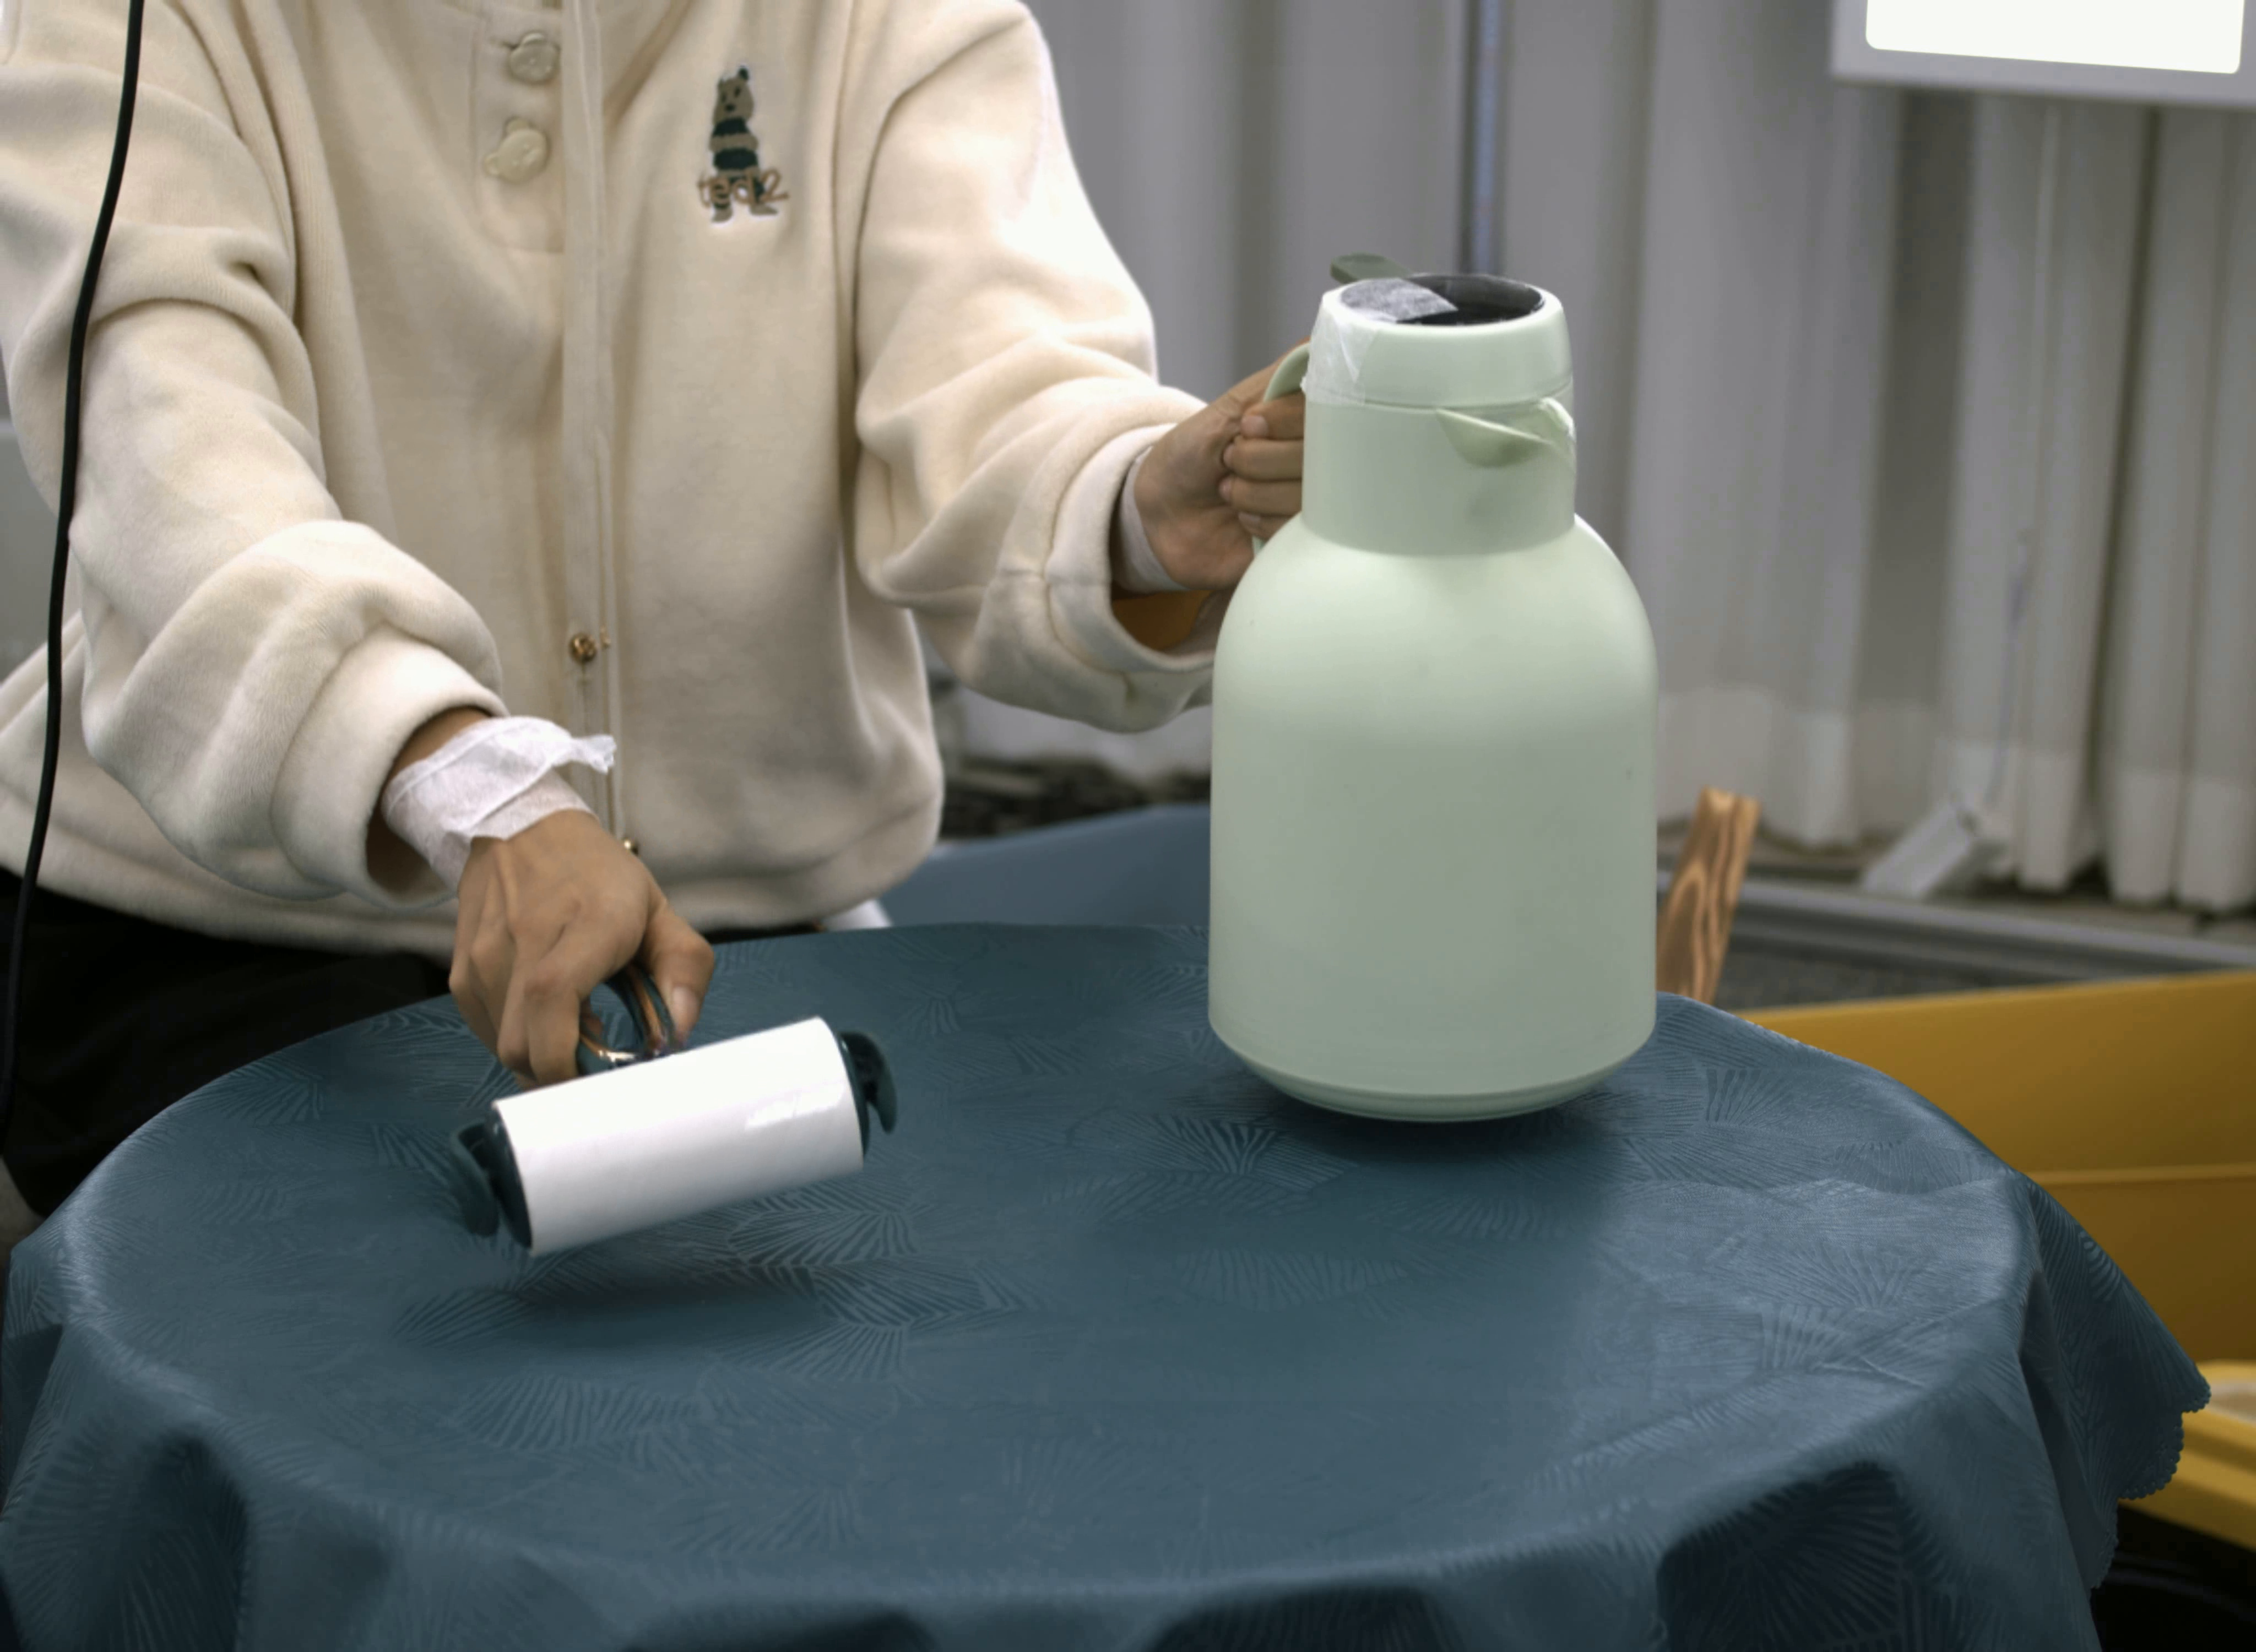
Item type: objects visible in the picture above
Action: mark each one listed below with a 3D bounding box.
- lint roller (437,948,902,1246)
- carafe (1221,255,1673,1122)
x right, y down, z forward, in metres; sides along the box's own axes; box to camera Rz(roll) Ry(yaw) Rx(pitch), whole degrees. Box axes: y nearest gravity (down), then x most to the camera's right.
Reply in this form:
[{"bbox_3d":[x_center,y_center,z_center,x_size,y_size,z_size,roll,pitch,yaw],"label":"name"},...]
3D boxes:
[{"bbox_3d":[-0.152,0.059,1.578,0.134,0.049,0.178,-13,29,-13],"label":"lint roller"},{"bbox_3d":[0.094,-0.049,1.677,0.144,0.259,0.184,-10,18,-22],"label":"carafe"}]
